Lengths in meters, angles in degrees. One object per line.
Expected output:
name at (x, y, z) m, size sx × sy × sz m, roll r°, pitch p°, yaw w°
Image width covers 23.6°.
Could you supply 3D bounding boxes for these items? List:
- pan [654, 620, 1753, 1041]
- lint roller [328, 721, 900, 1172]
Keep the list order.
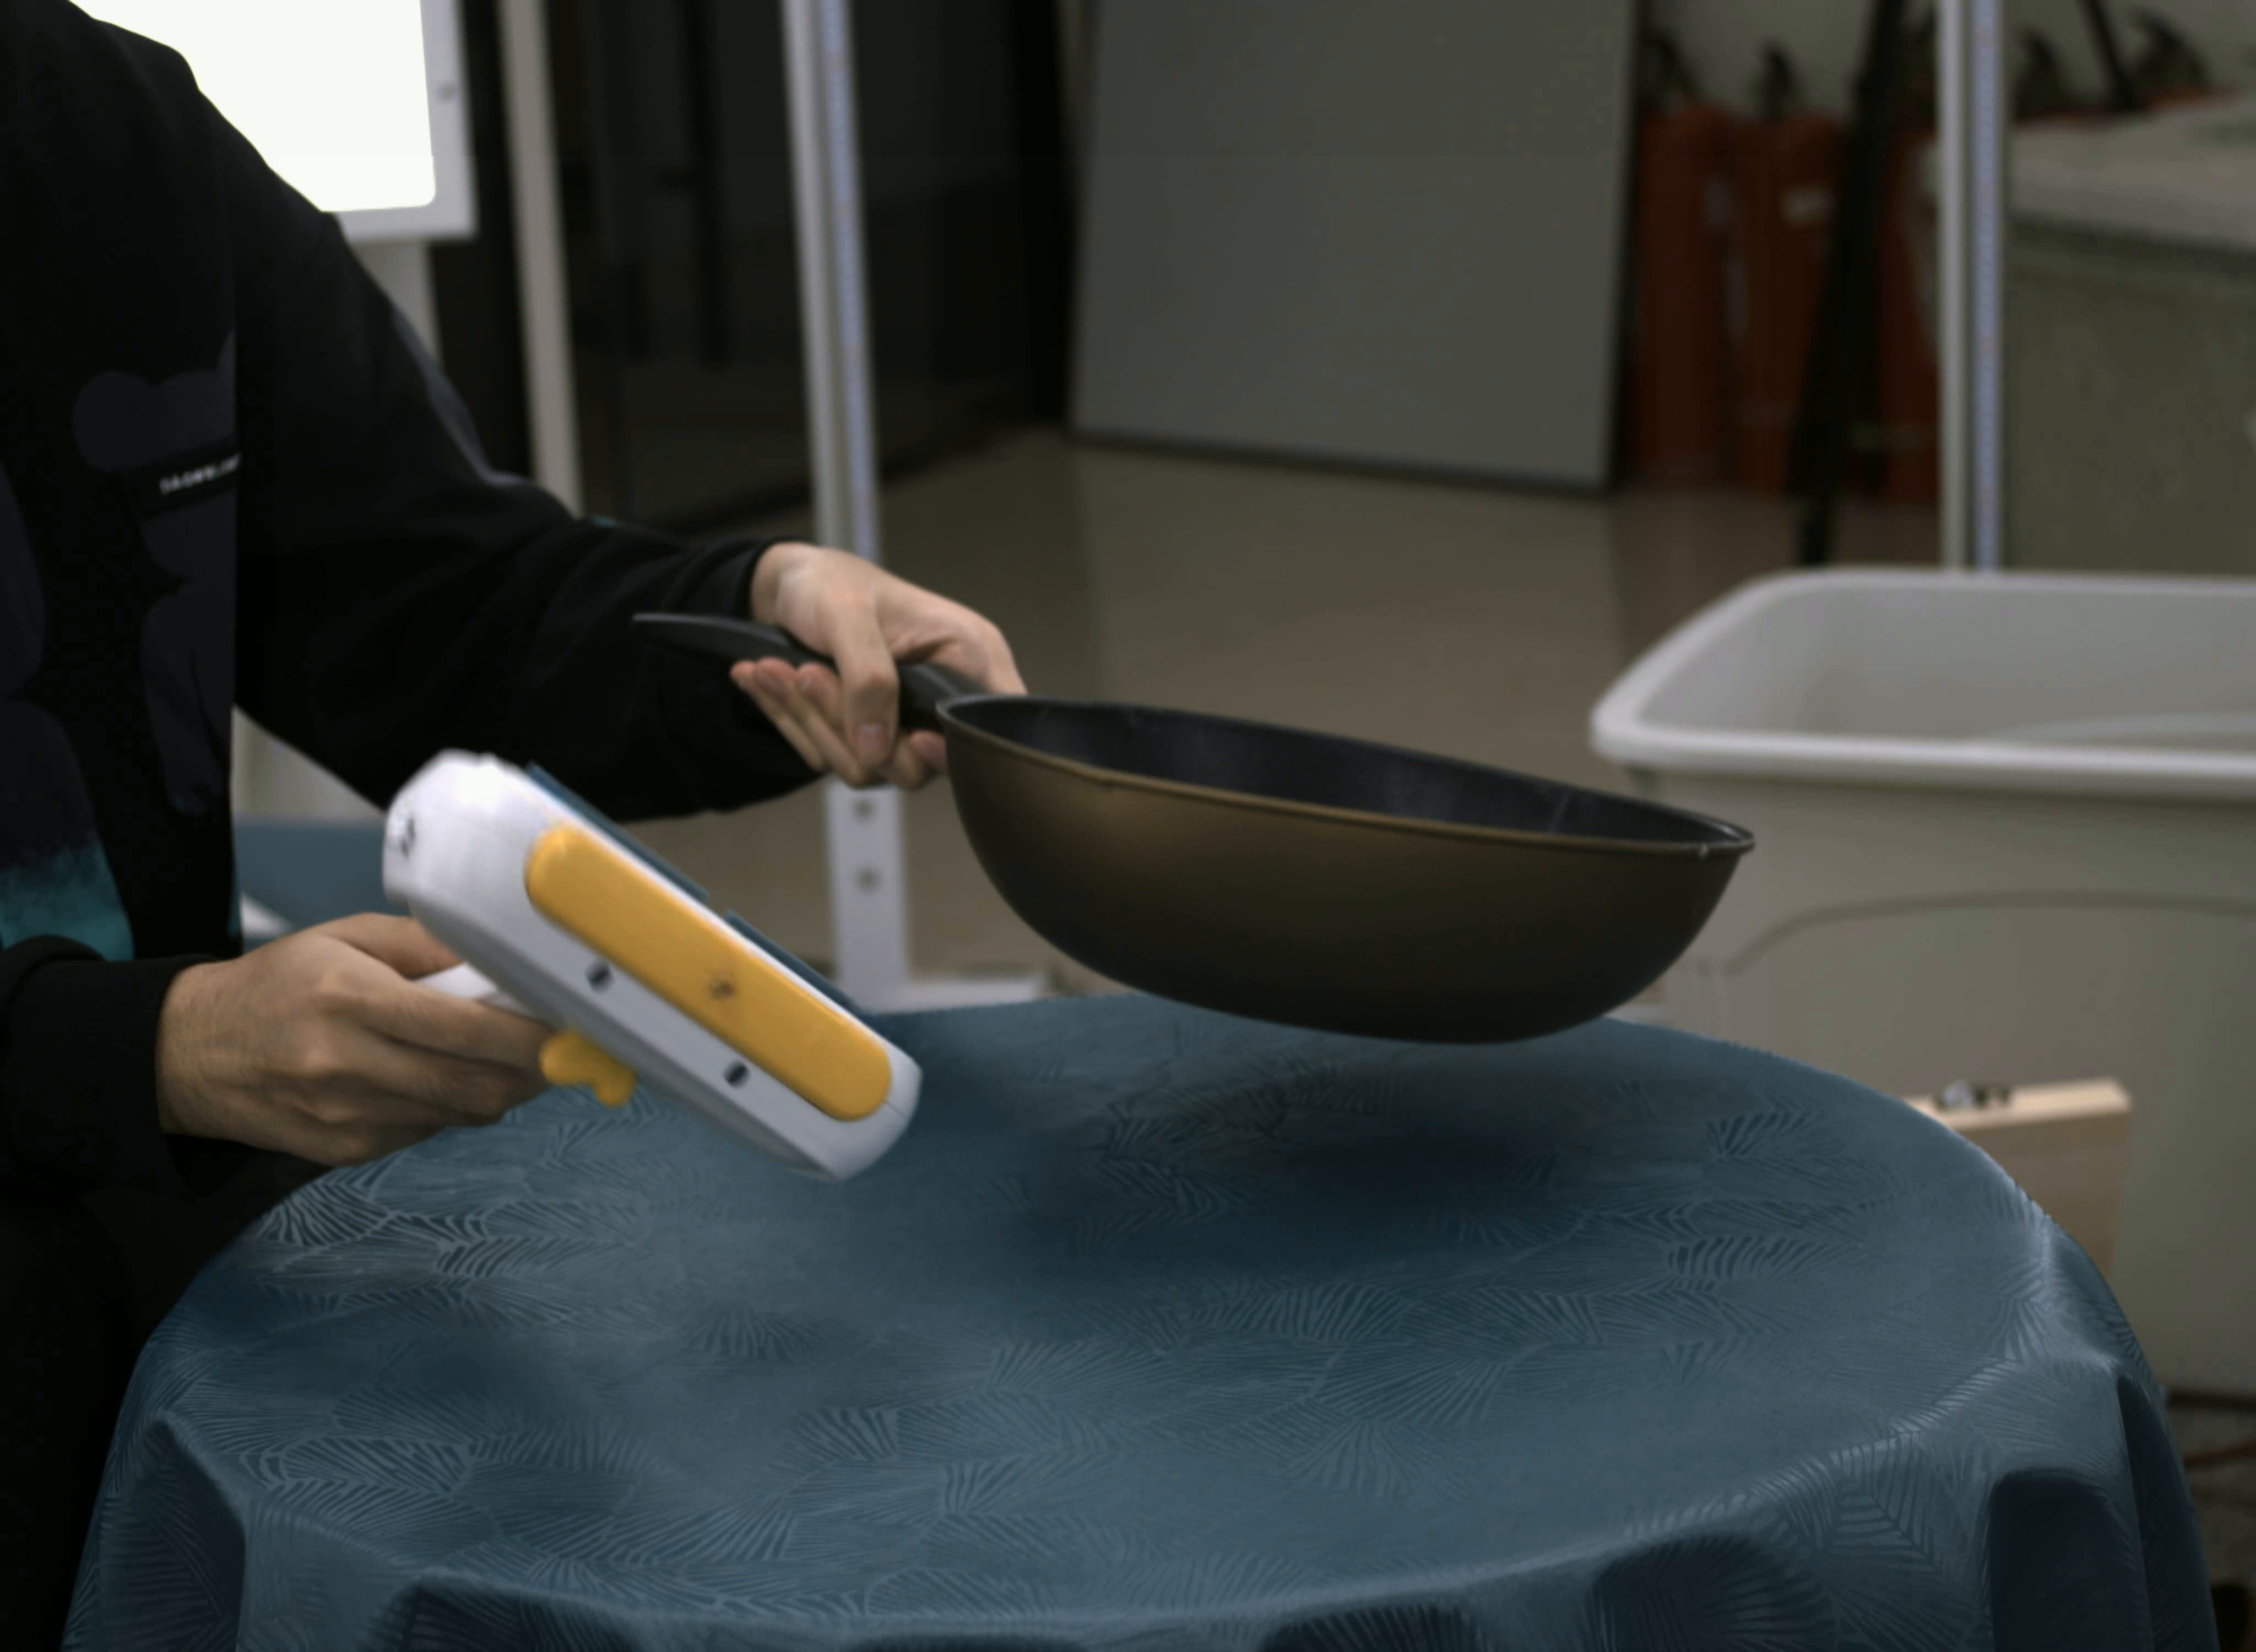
pan at (-0.004, 0.001, 1.854) m, size 0.467 × 0.088 × 0.282 m, roll 13°, pitch 6°, yaw 39°
lint roller at (-0.185, 0.049, 1.669) m, size 0.190 × 0.074 × 0.194 m, roll 34°, pitch -23°, yaw -25°
